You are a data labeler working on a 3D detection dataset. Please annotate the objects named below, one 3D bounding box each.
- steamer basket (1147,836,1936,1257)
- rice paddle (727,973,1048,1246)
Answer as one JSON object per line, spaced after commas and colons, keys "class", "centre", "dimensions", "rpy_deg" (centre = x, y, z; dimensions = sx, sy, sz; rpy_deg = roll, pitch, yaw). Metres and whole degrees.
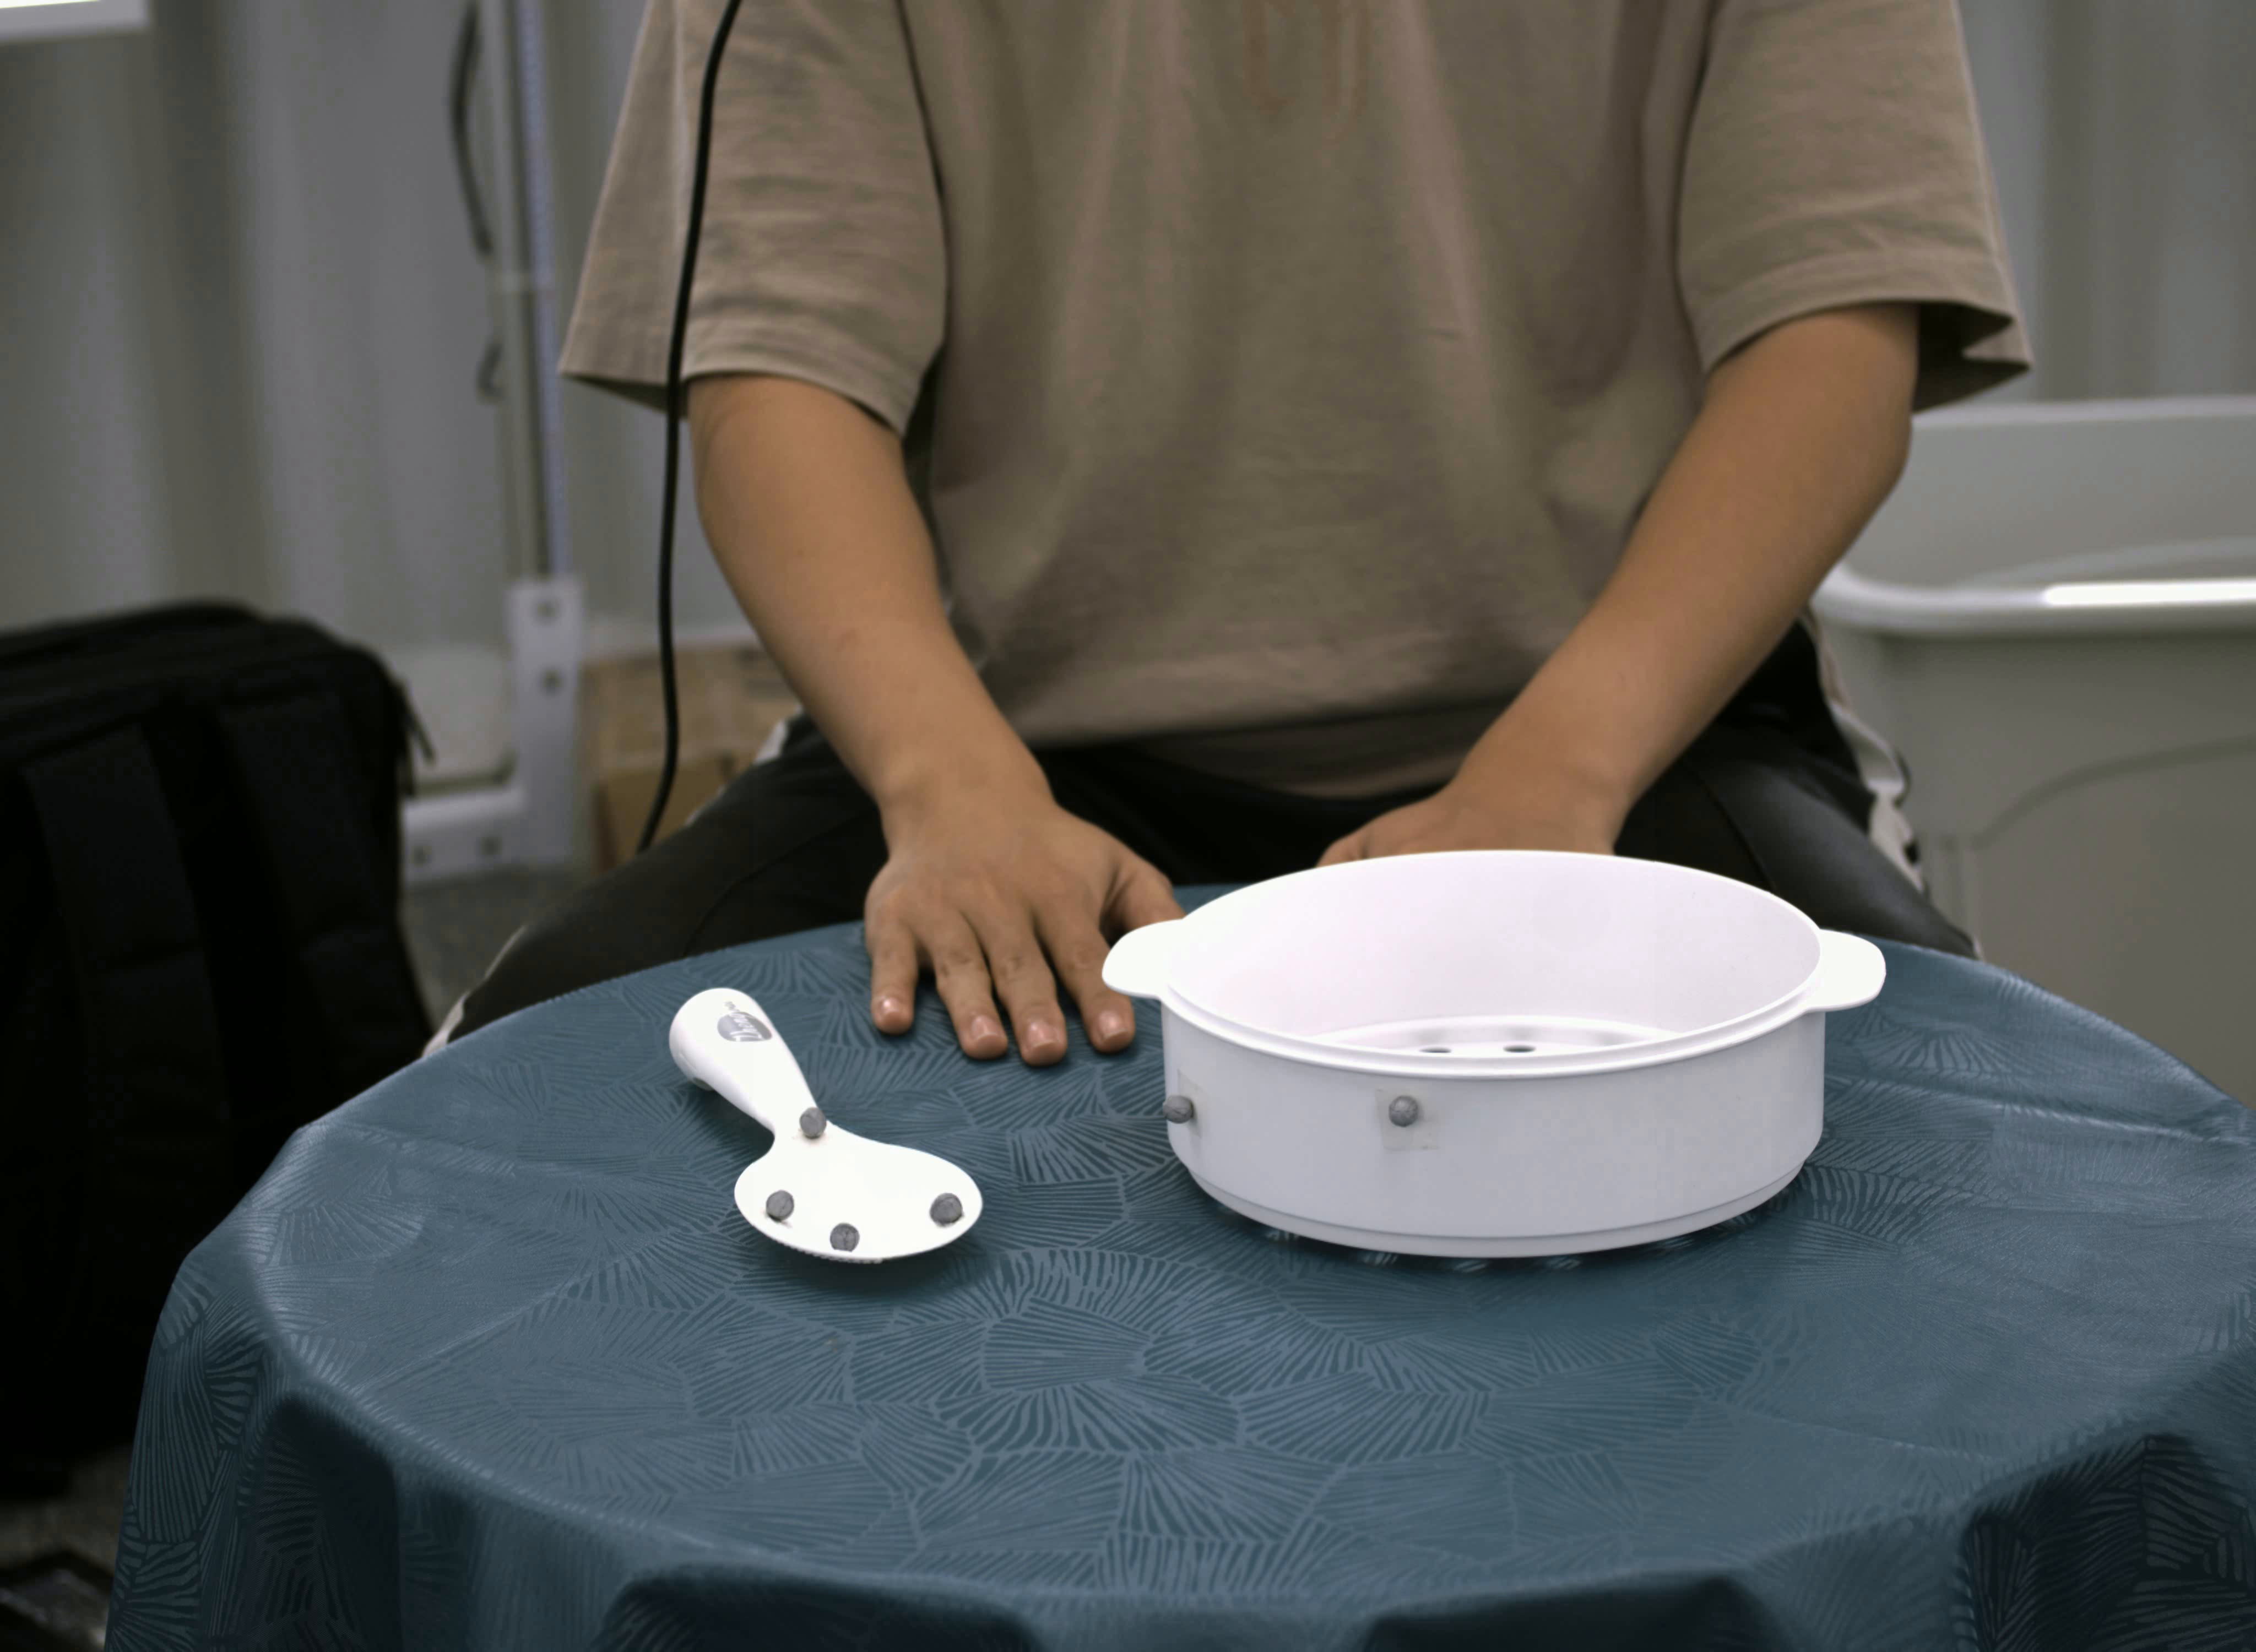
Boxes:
{"class": "steamer basket", "centre": [0.121, 0.065, 1.557], "dimensions": [0.231, 0.069, 0.201], "rpy_deg": [2, 18, 11]}
{"class": "rice paddle", "centre": [-0.077, 0.086, 1.574], "dimensions": [0.067, 0.029, 0.209], "rpy_deg": [-9, 17, -17]}
